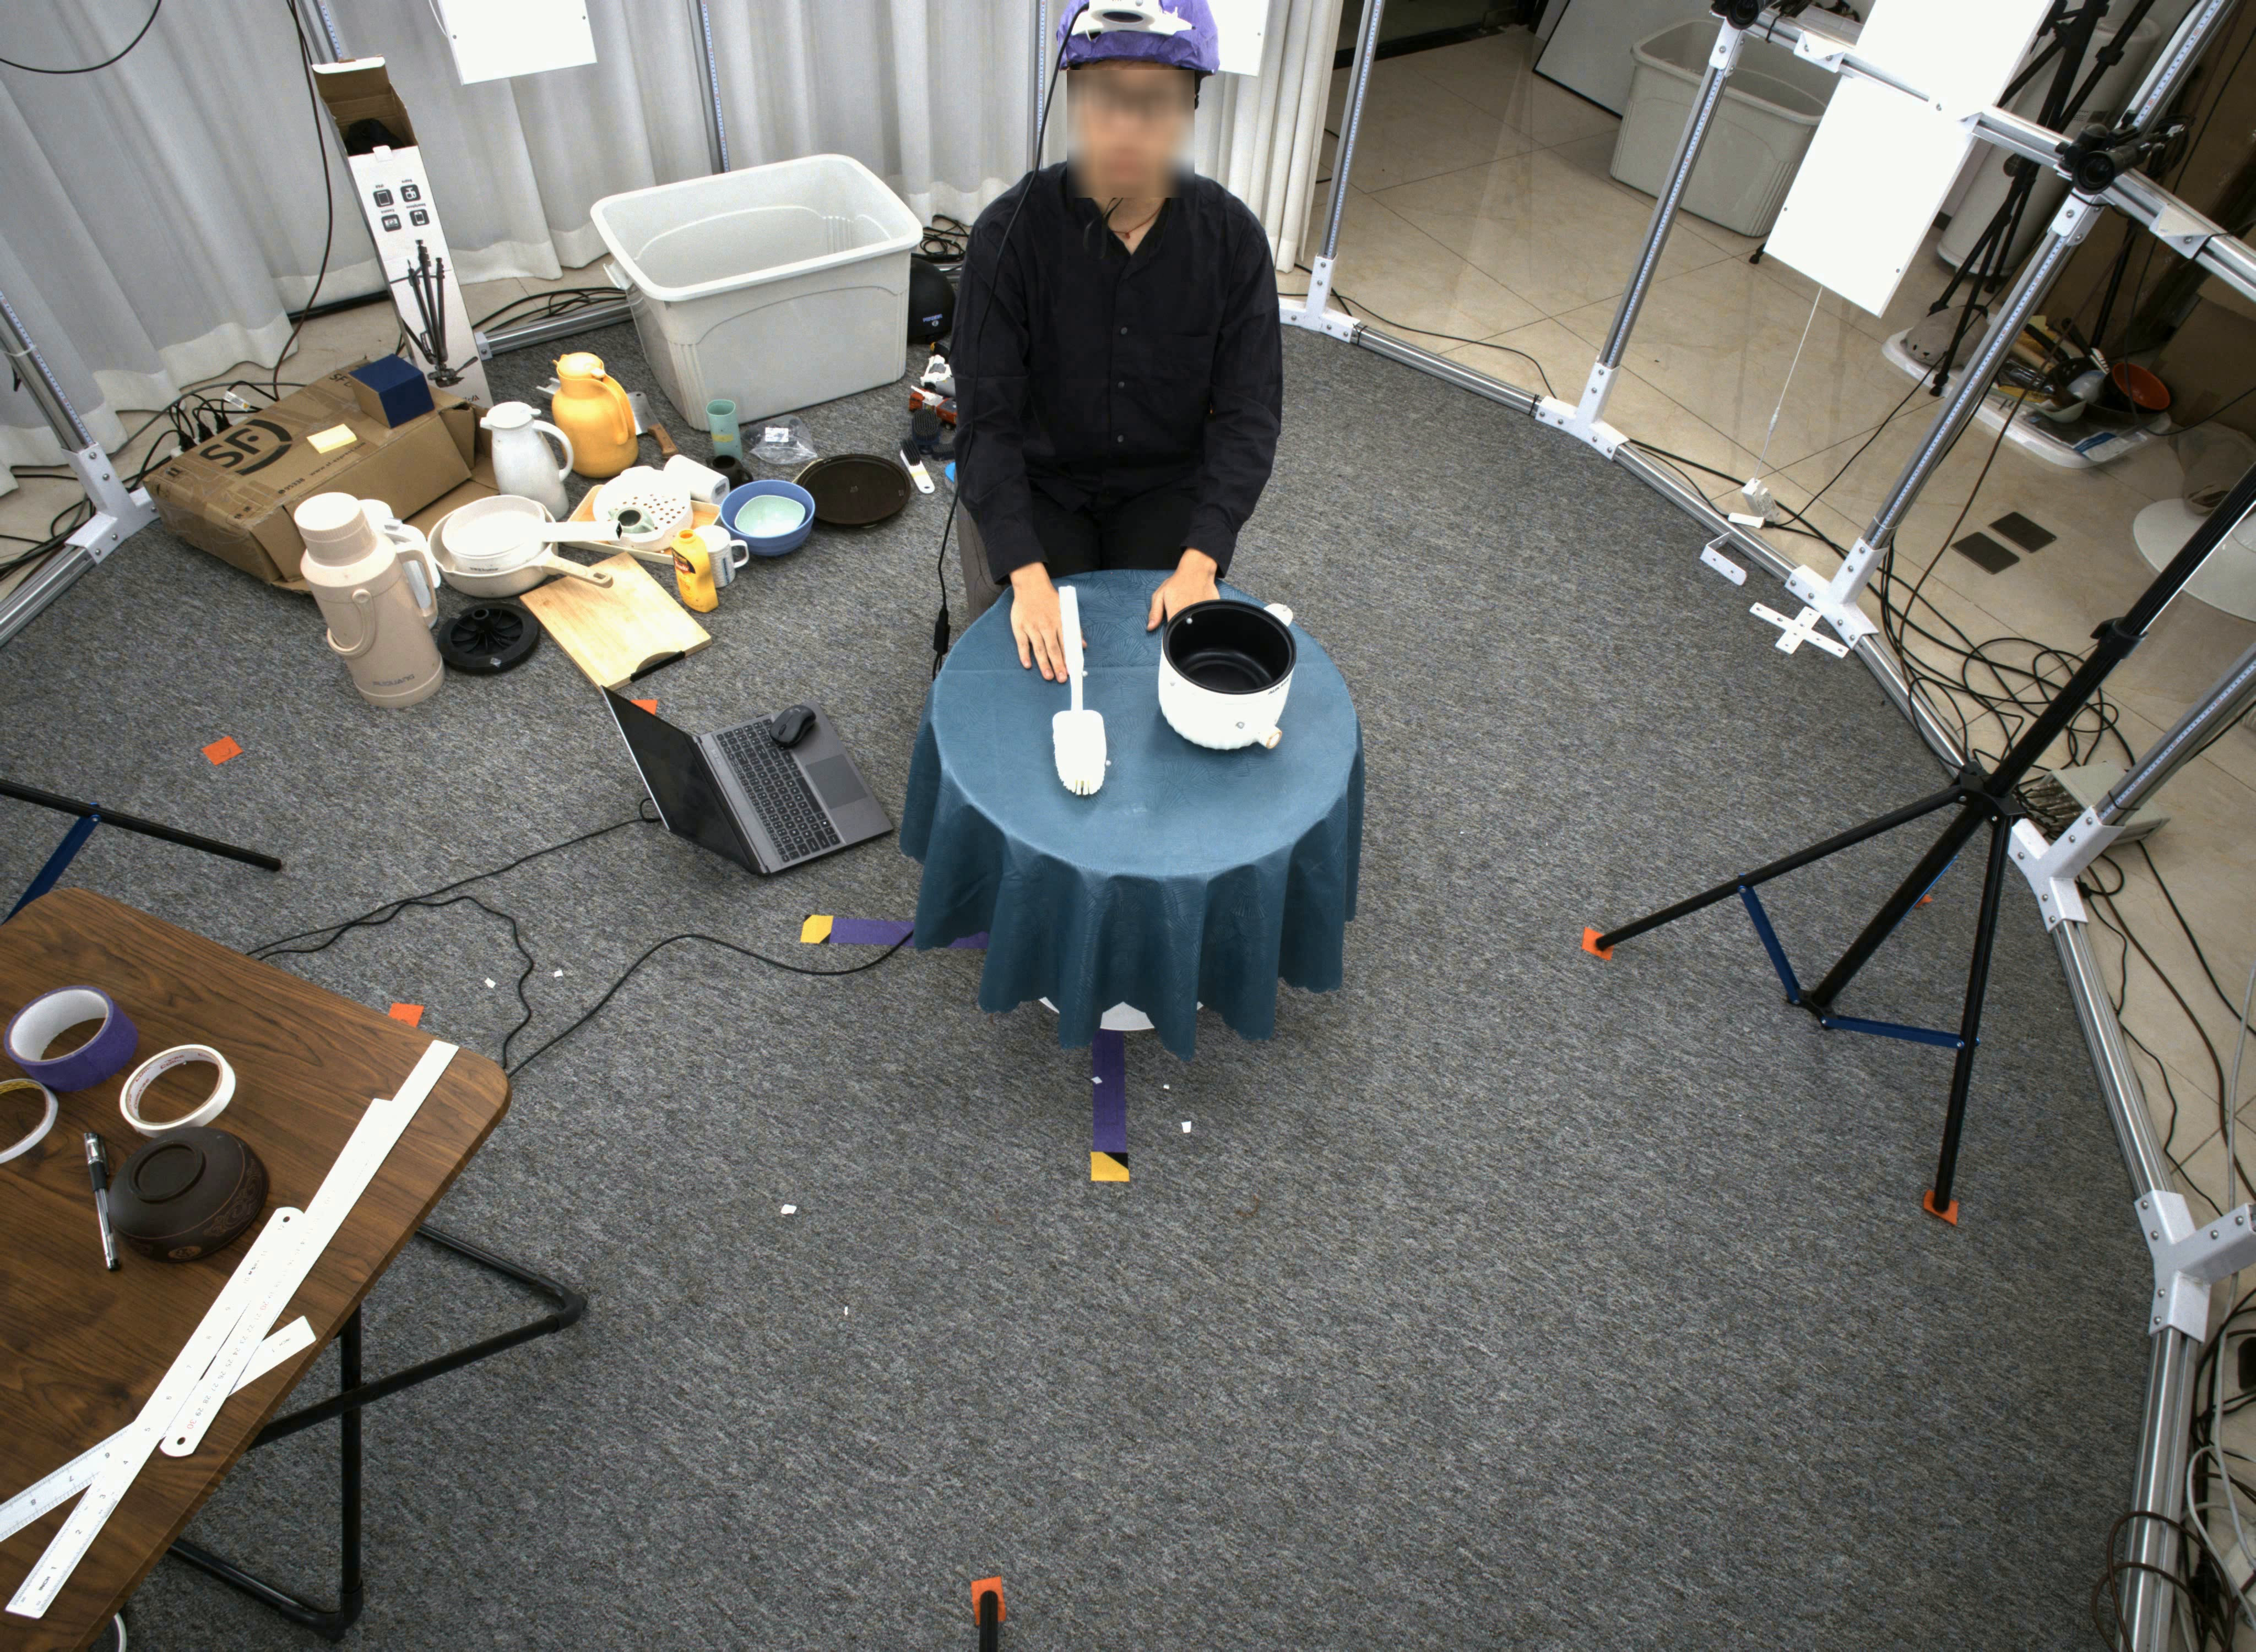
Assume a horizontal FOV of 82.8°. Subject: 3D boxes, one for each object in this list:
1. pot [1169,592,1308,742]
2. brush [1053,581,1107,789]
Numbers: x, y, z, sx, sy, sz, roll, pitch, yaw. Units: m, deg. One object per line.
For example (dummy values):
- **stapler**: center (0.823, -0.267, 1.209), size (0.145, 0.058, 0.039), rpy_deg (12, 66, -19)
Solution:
- **pot**: center (0.151, -0.208, 1.764), size (0.193, 0.139, 0.243), rpy_deg (36, 57, 26)
- **brush**: center (-0.069, -0.192, 1.774), size (0.082, 0.084, 0.332), rpy_deg (19, 53, -38)
